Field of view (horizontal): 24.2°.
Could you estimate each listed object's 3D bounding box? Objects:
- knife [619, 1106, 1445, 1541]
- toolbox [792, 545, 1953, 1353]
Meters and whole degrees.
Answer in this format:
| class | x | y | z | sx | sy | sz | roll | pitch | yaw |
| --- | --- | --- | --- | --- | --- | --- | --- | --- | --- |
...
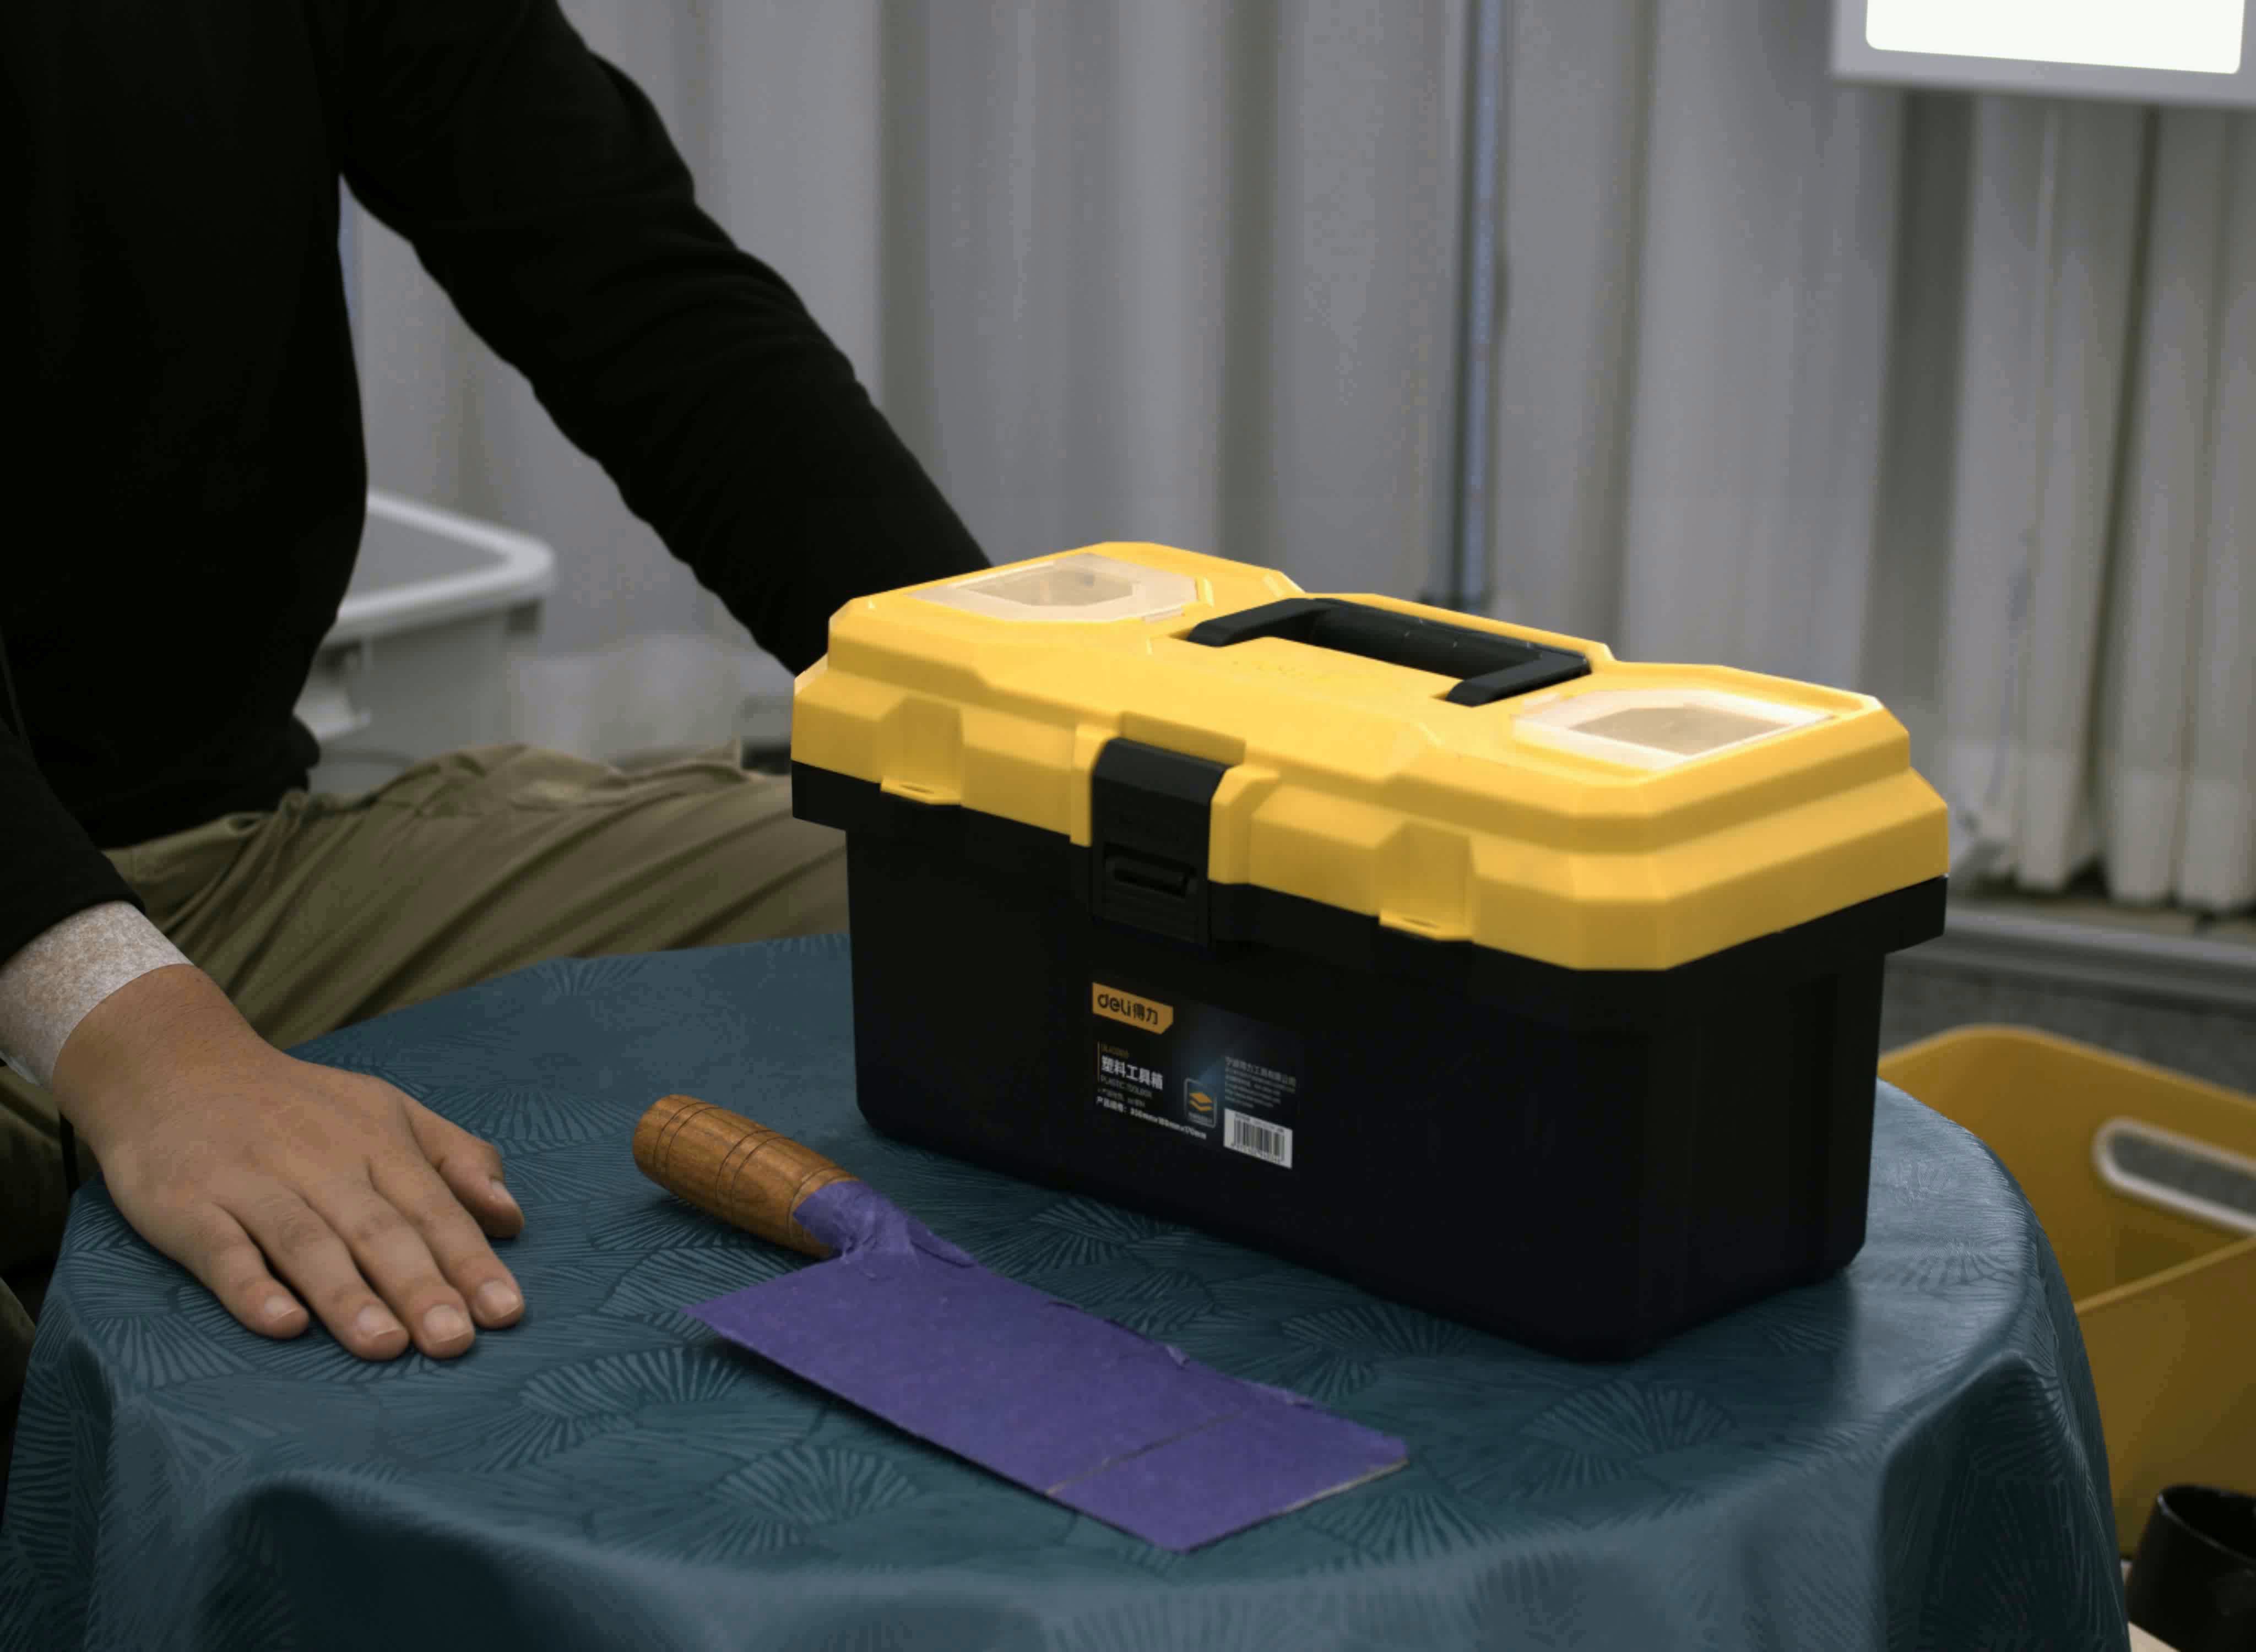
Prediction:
| class | x | y | z | sx | sy | sz | roll | pitch | yaw |
| --- | --- | --- | --- | --- | --- | --- | --- | --- | --- |
| knife | -0.058 | 0.136 | 1.481 | 0.104 | 0.032 | 0.311 | -14 | 22 | -43 |
| toolbox | 0.065 | 0.030 | 1.595 | 0.347 | 0.174 | 0.182 | 14 | 20 | 42 |
